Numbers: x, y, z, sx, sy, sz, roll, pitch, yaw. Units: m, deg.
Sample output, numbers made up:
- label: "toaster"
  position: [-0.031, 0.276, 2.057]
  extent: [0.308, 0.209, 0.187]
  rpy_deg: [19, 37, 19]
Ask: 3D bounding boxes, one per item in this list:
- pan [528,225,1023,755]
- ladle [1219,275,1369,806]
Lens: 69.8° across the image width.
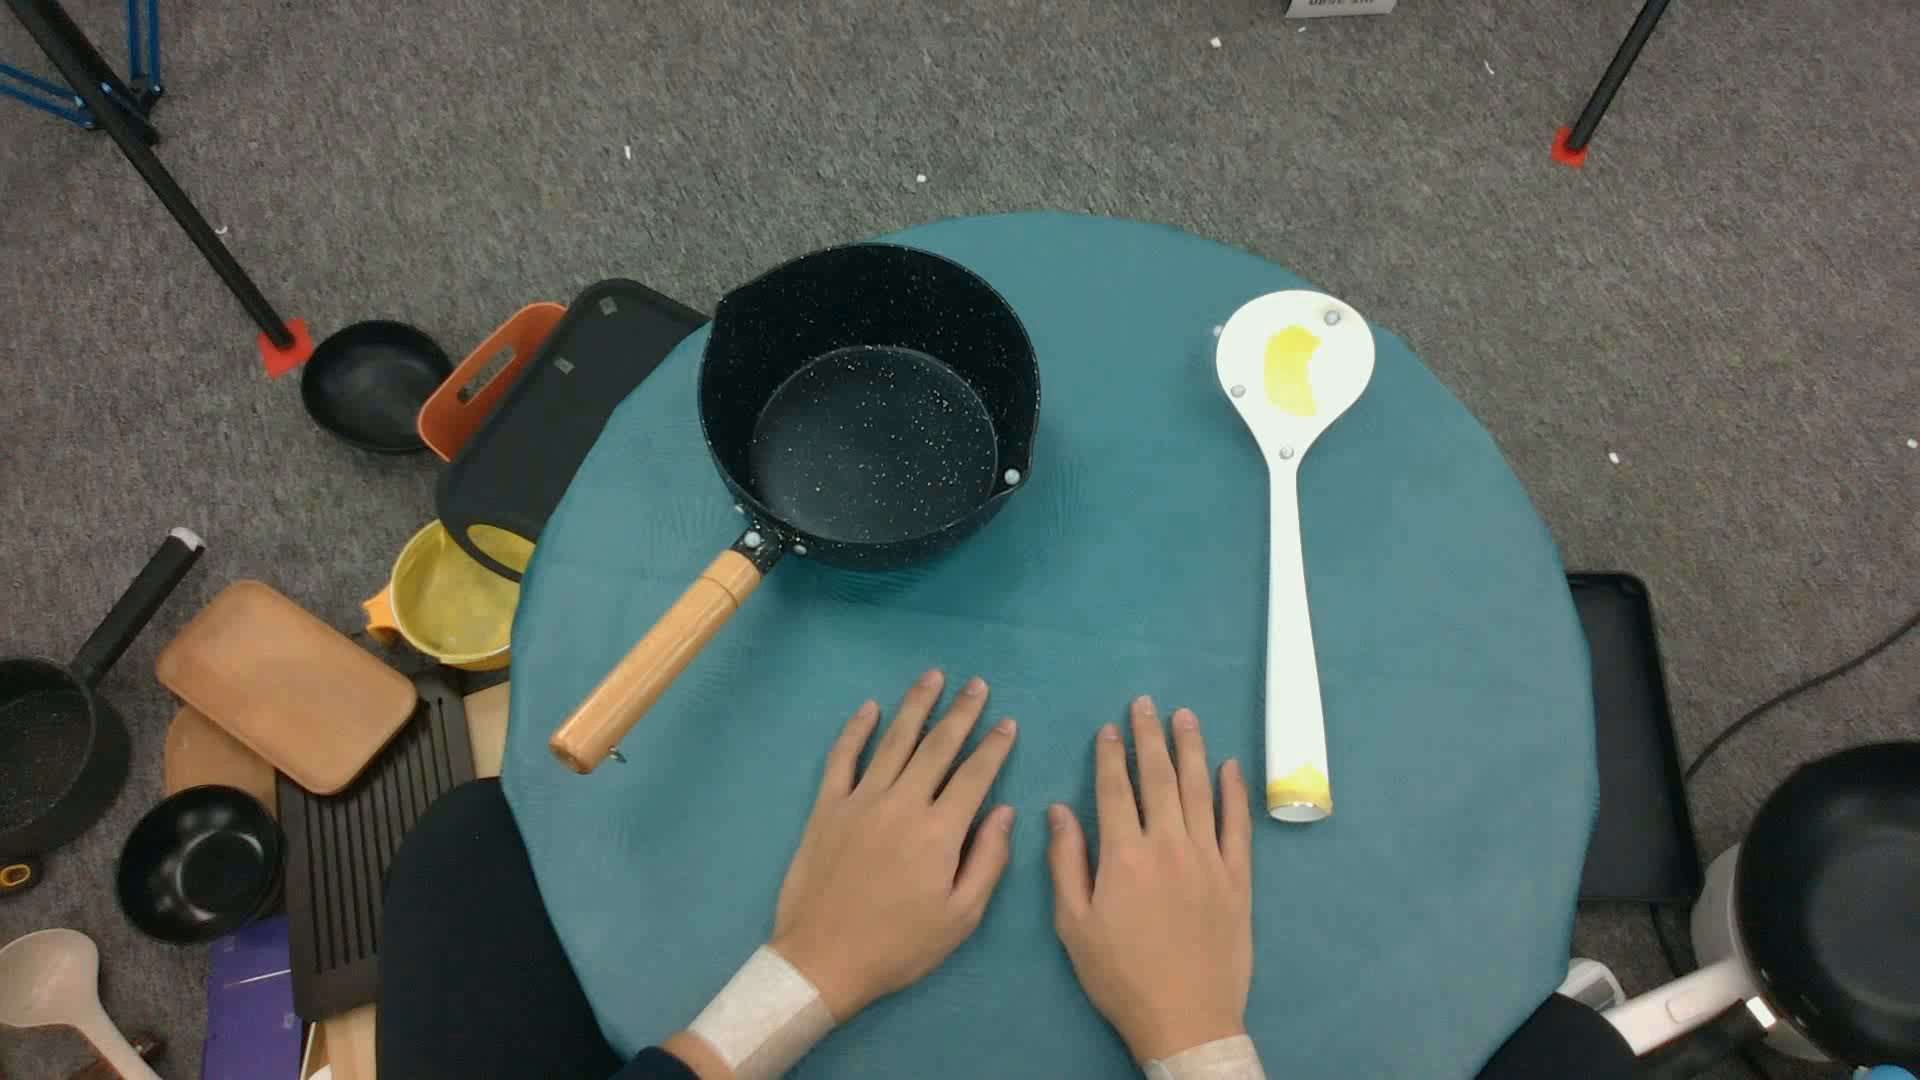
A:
- label: "pan"
  position: [-0.101, -0.017, 0.734]
  extent: [0.207, 0.108, 0.344]
  rpy_deg: [30, 68, 9]
- label: "ladle"
  position: [0.184, -0.004, 0.766]
  extent: [0.090, 0.069, 0.294]
  rpy_deg: [8, 68, -7]
